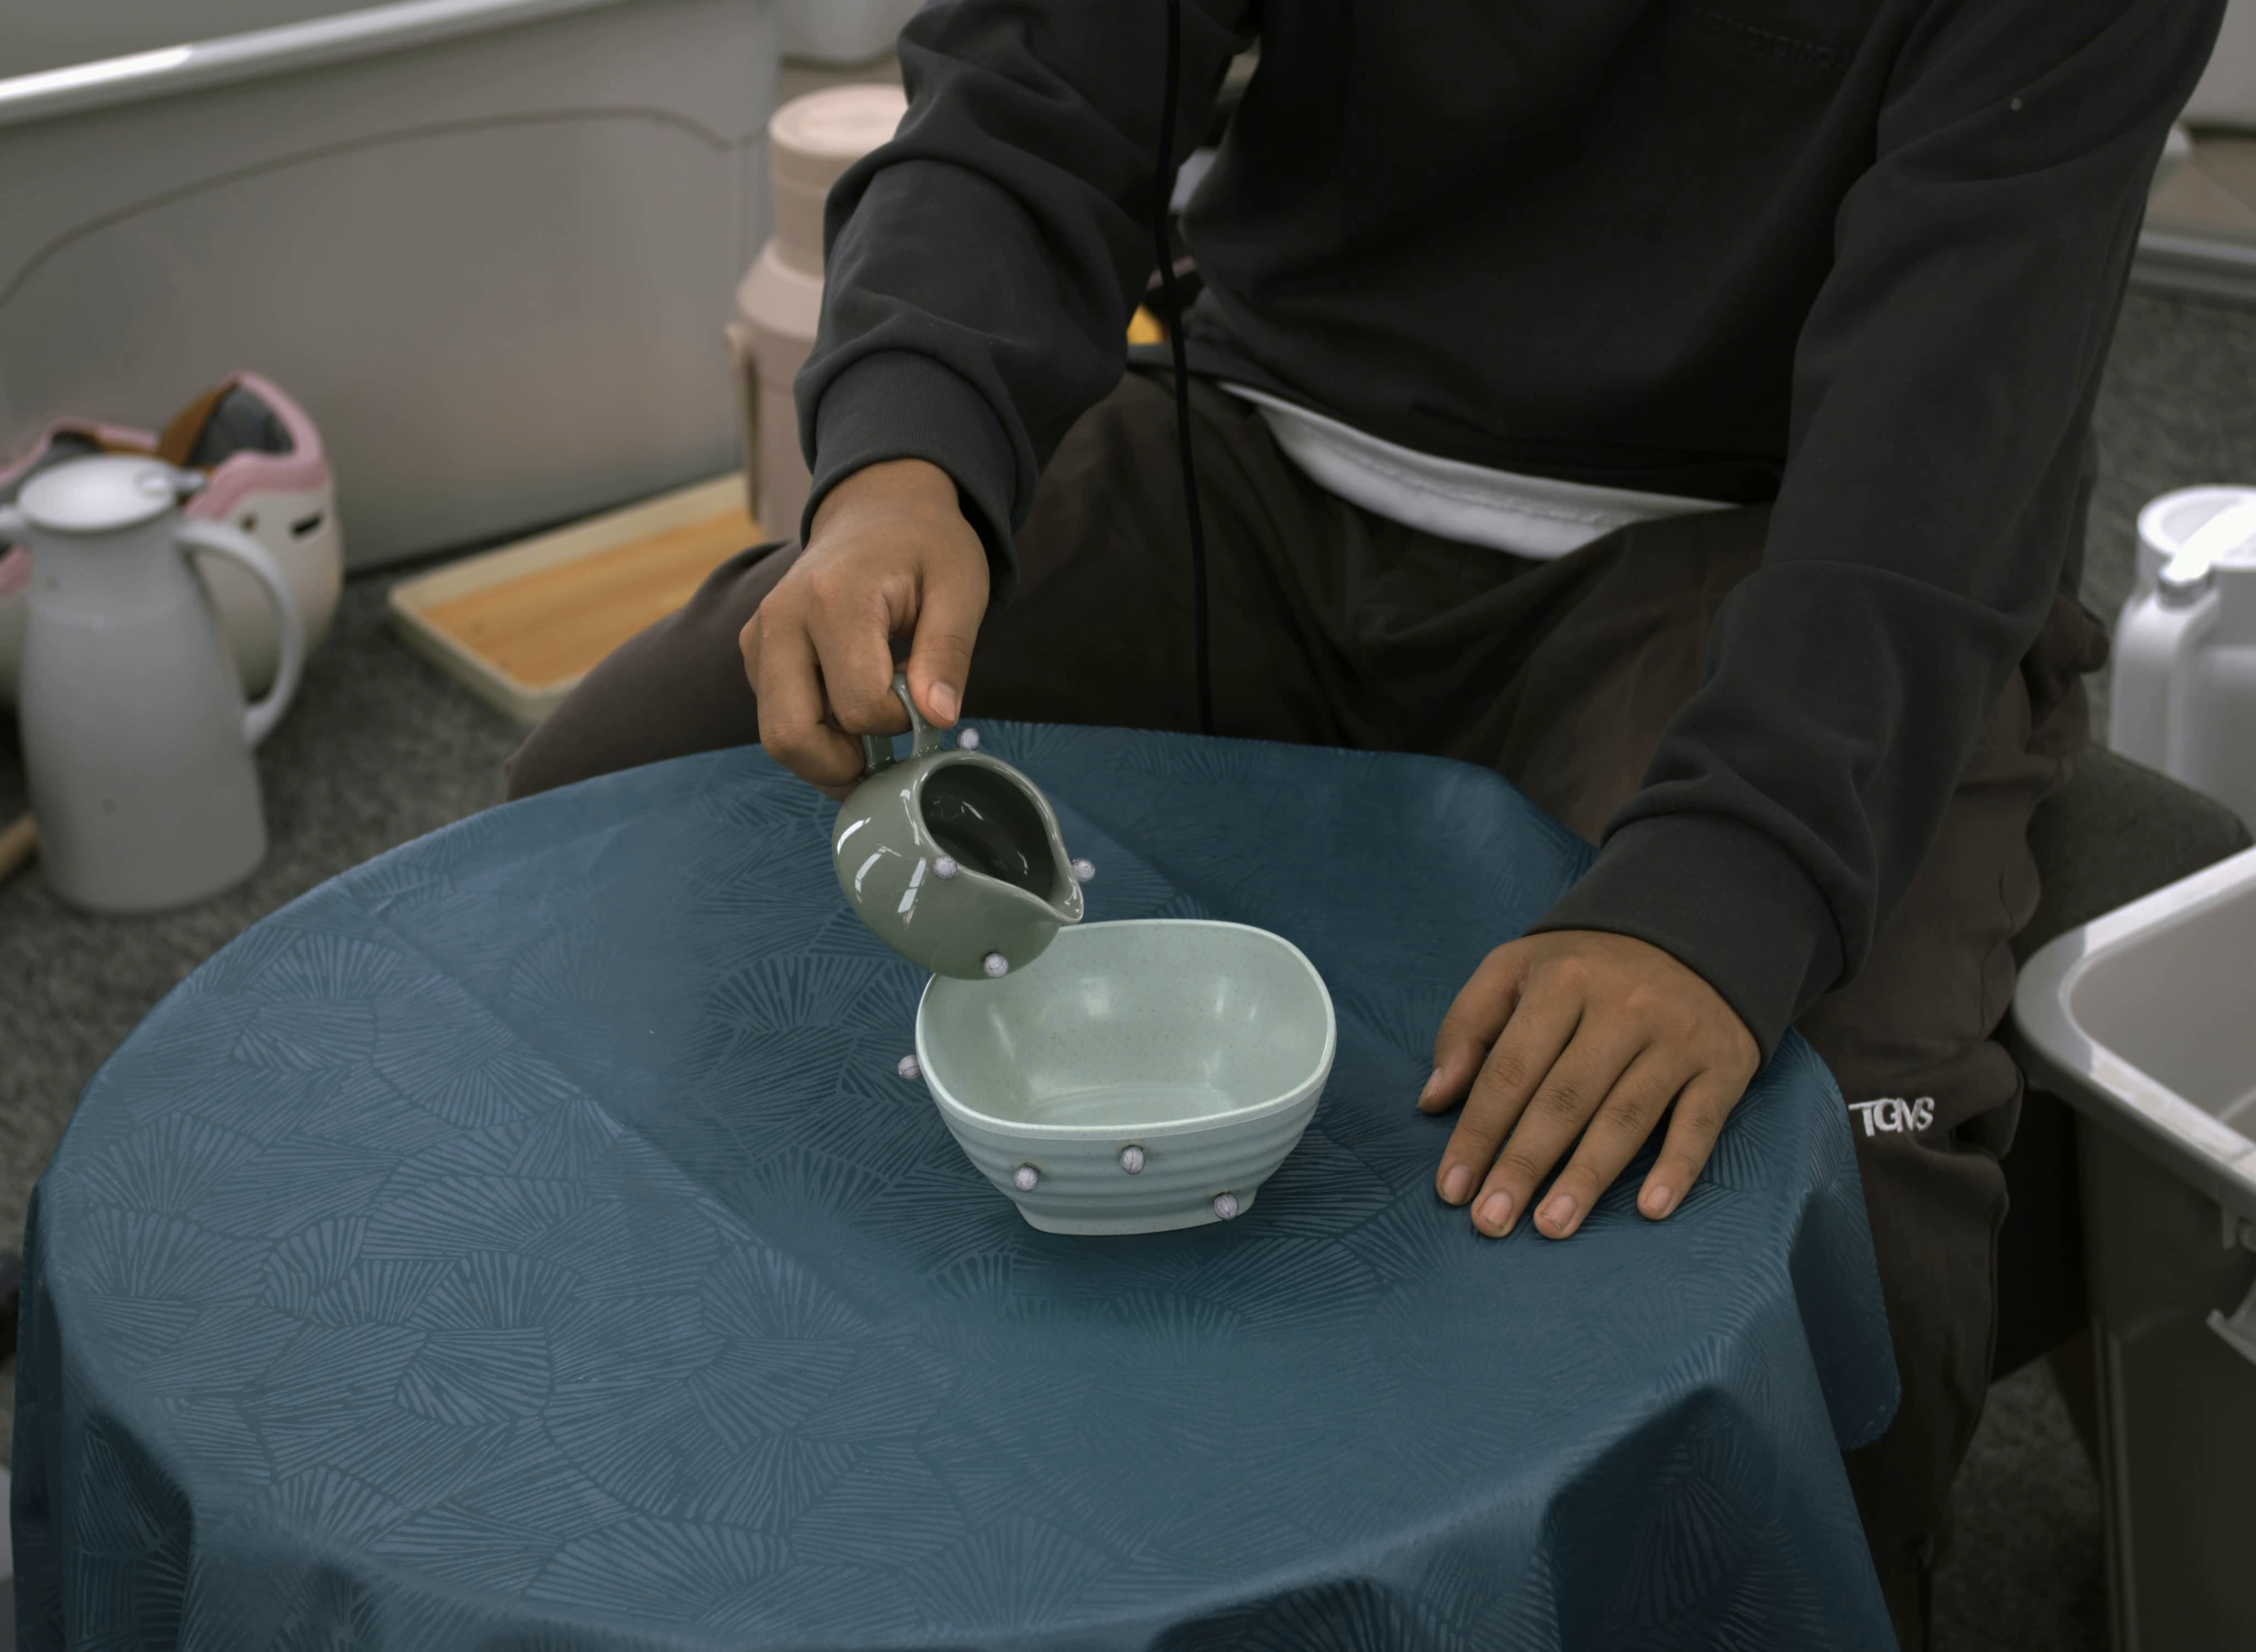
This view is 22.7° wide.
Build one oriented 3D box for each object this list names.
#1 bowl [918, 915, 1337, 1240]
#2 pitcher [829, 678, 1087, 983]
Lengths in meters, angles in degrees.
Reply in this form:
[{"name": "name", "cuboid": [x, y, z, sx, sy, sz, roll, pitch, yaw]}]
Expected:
[{"name": "bowl", "cuboid": [0.001, 0.090, 1.867, 0.151, 0.058, 0.154, -2, 29, 2]}, {"name": "pitcher", "cuboid": [-0.060, 0.004, 1.878, 0.085, 0.055, 0.113, -21, 65, -44]}]
